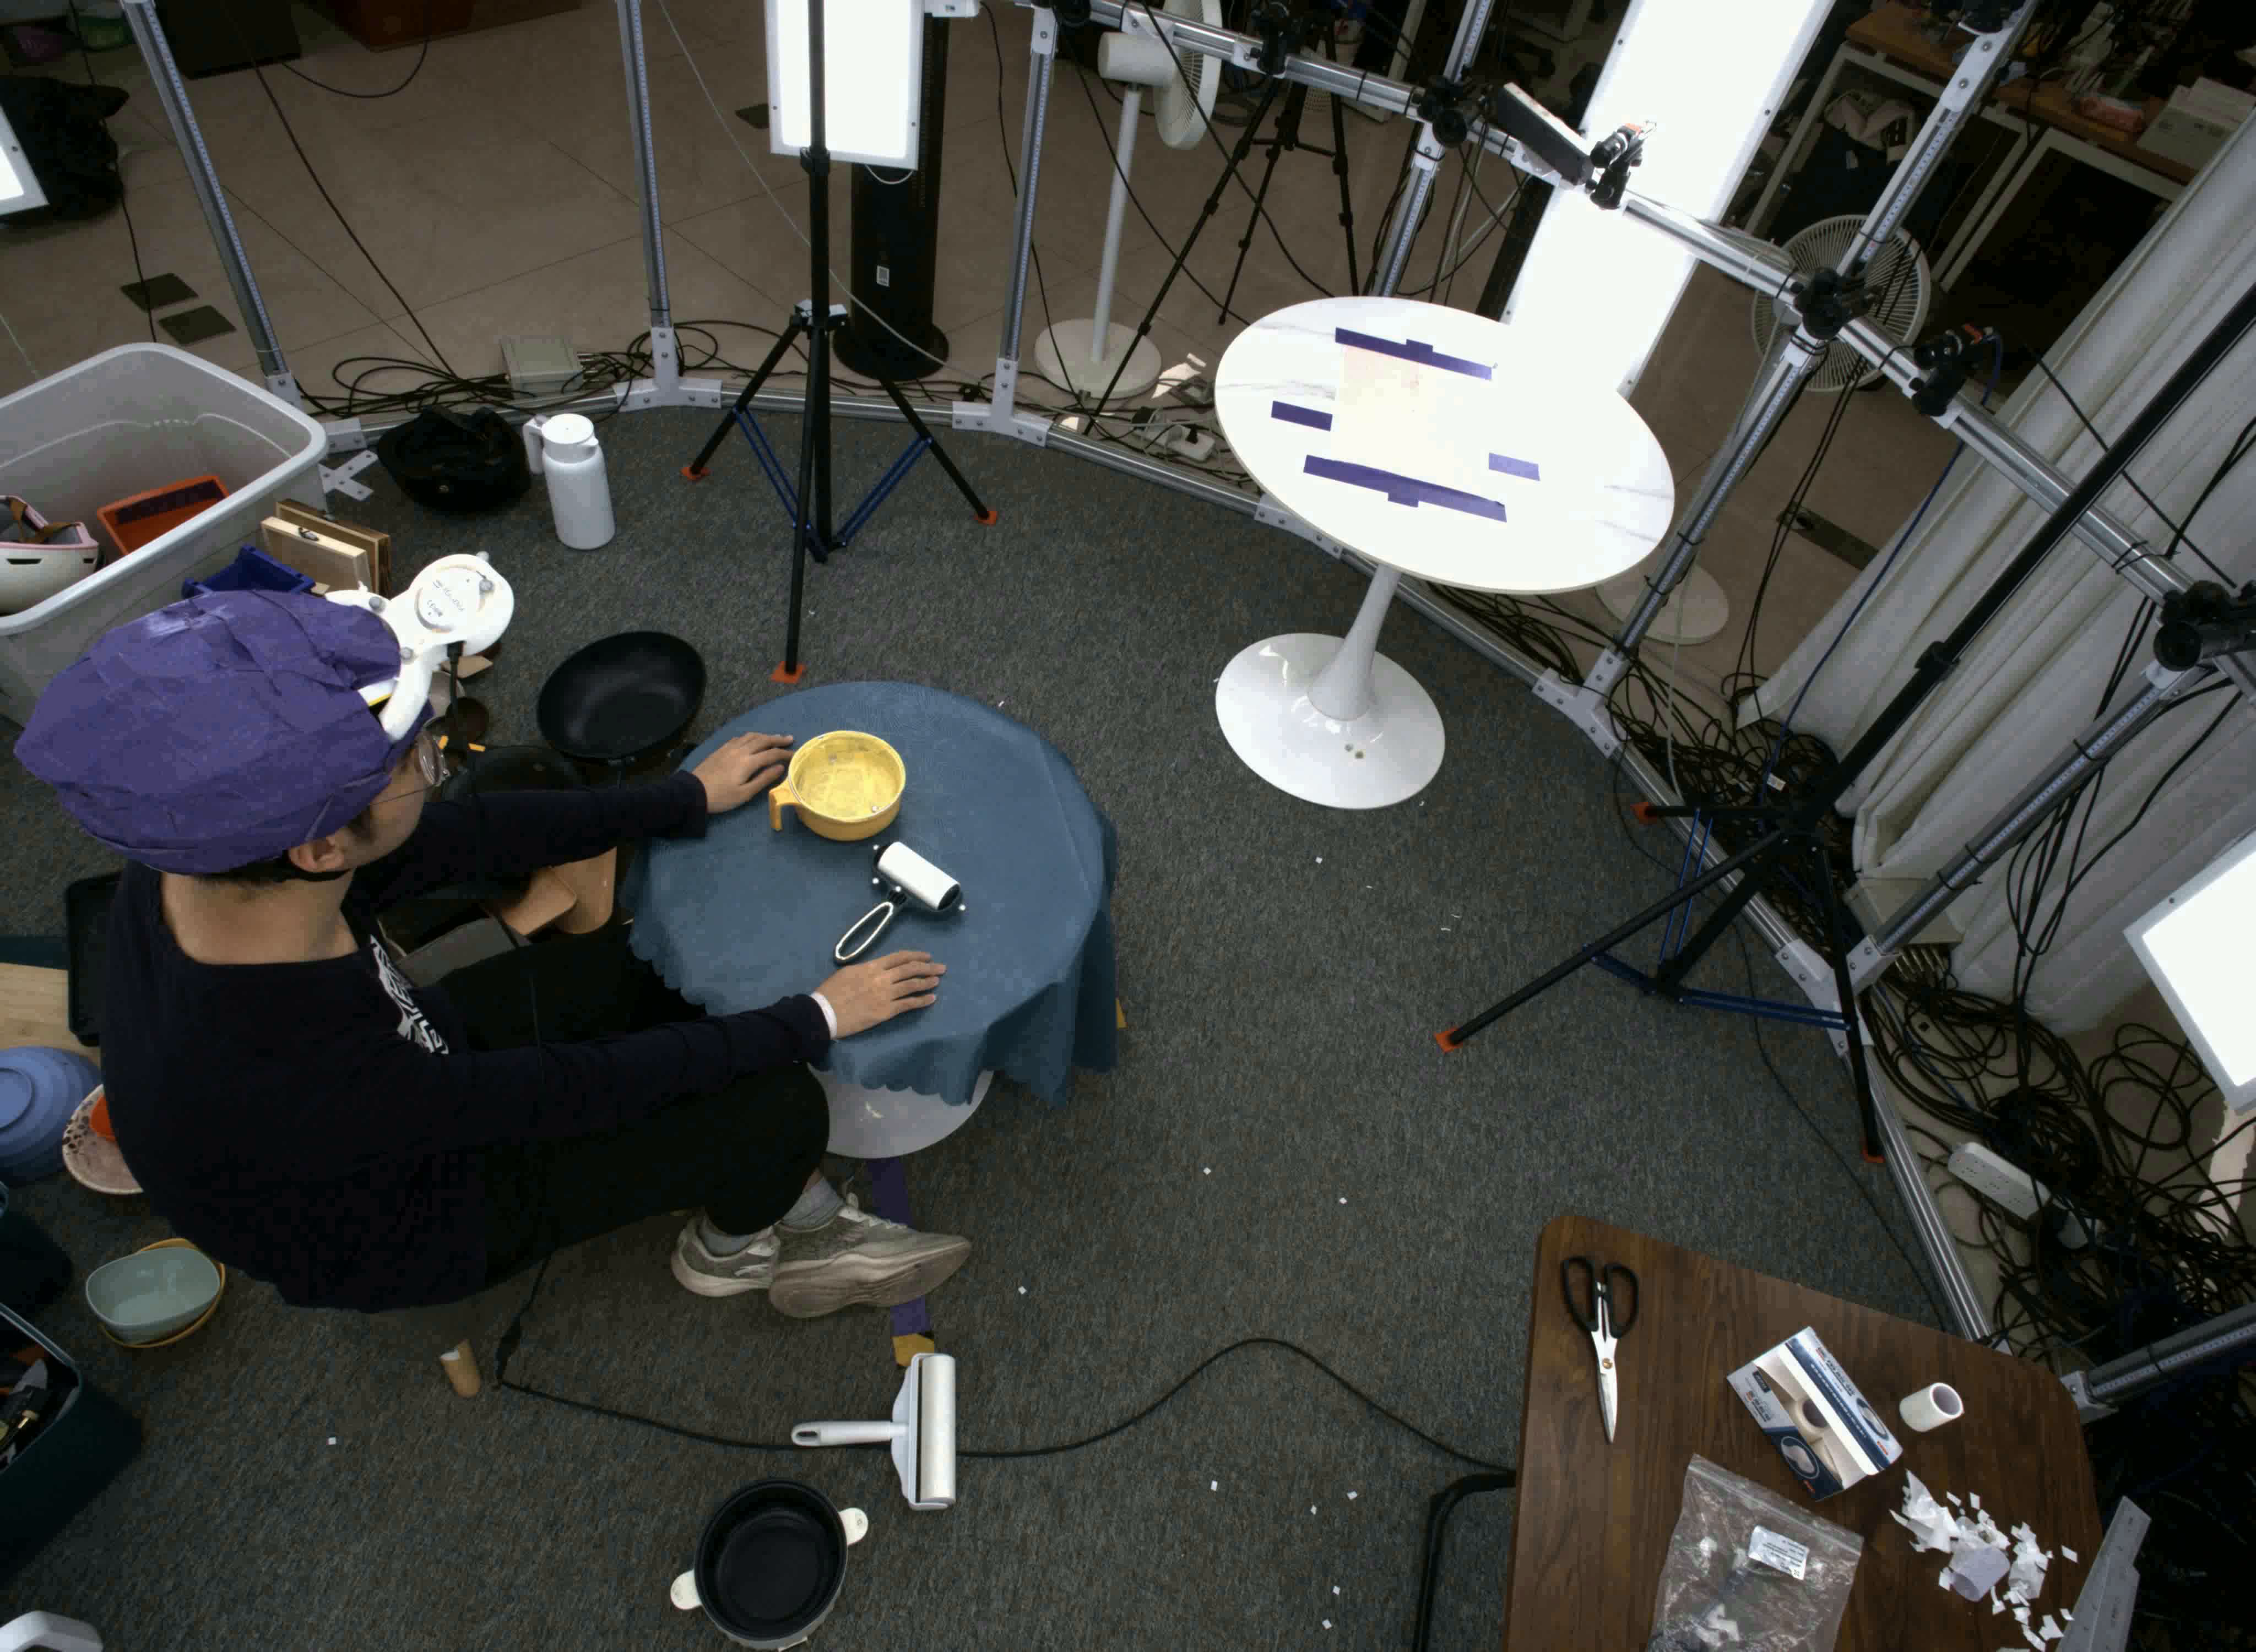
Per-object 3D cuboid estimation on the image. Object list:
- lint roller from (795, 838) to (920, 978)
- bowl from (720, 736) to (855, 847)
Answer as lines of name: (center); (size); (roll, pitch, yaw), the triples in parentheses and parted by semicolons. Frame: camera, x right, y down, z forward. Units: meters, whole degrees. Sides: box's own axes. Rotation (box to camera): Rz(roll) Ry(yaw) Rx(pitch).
lint roller: (-0.362, 0.112, 1.644); (0.132, 0.049, 0.179); (32, 59, 10)
bowl: (-0.451, -0.038, 1.715); (0.180, 0.076, 0.149); (-27, 65, -30)
